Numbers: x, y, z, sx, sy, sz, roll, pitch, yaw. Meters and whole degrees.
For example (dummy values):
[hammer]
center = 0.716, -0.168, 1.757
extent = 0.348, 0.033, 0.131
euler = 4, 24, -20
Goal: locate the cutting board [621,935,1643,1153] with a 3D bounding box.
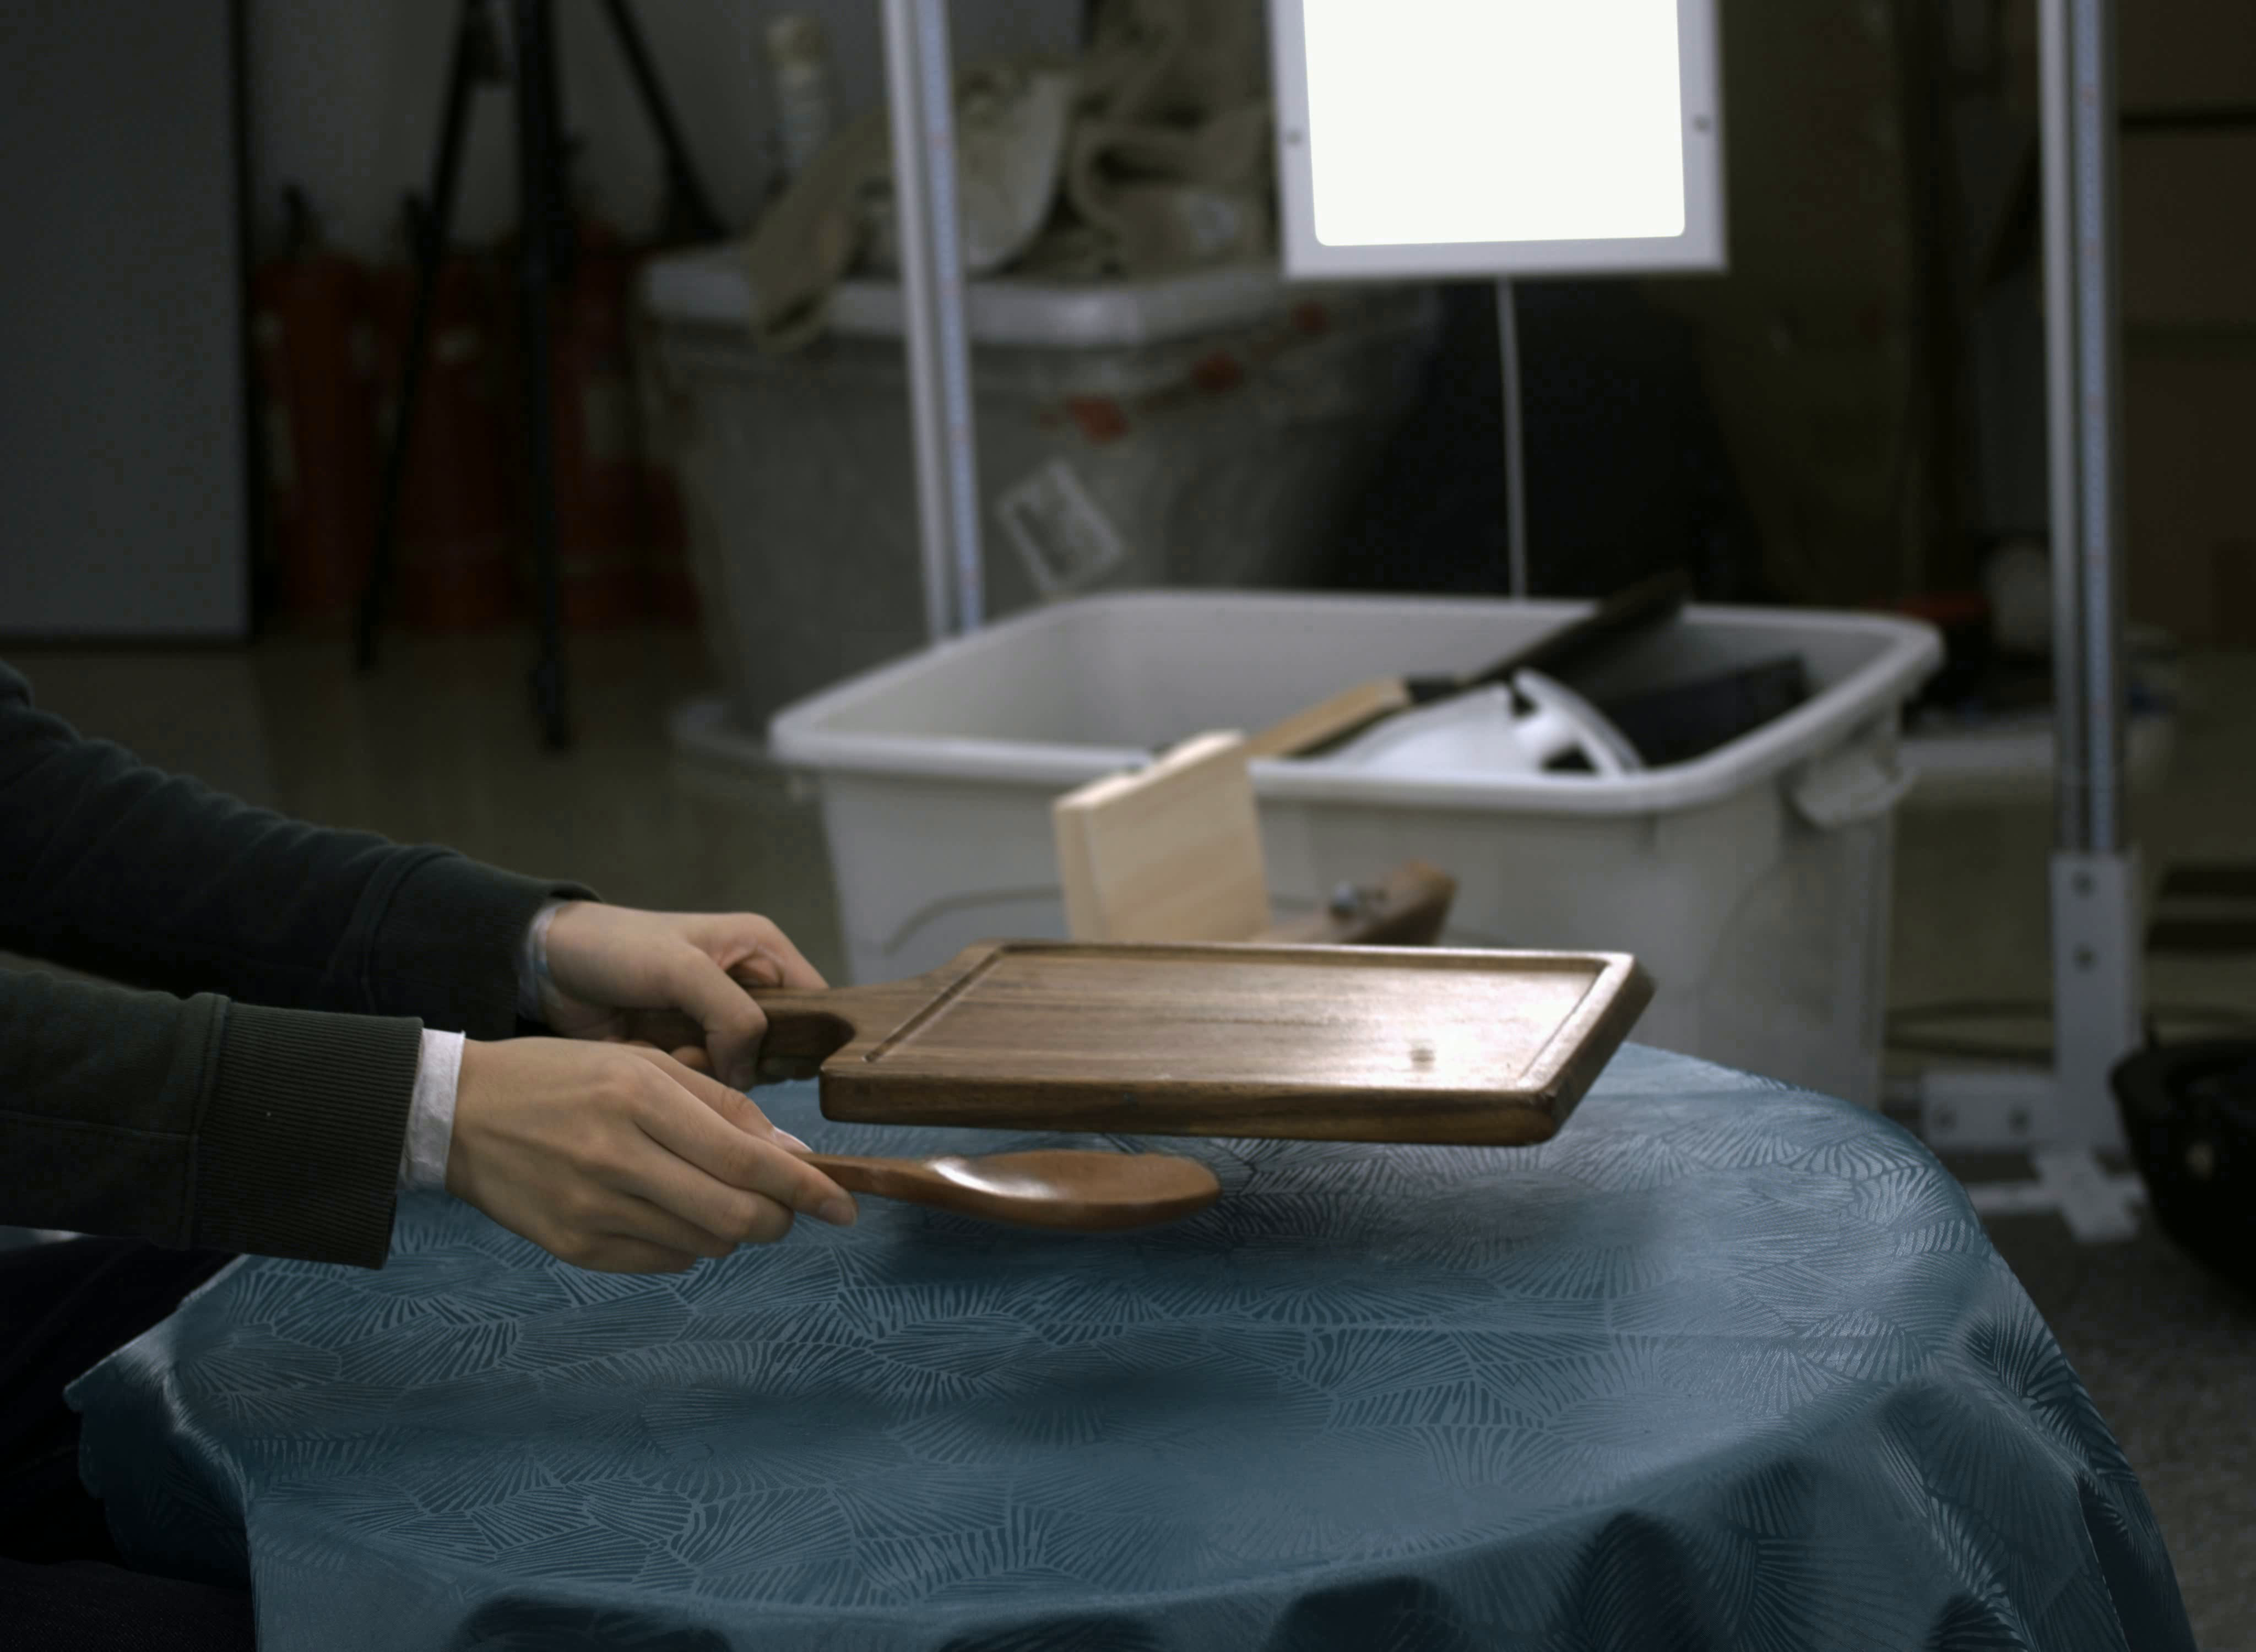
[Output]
[cutting board]
center = -0.008, 0.071, 1.903
extent = 0.356, 0.023, 0.198
euler = 1, 14, 17

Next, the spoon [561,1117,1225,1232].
[spoon]
center = -0.075, 0.108, 1.720
extent = 0.218, 0.017, 0.074
euler = 4, 12, 17
